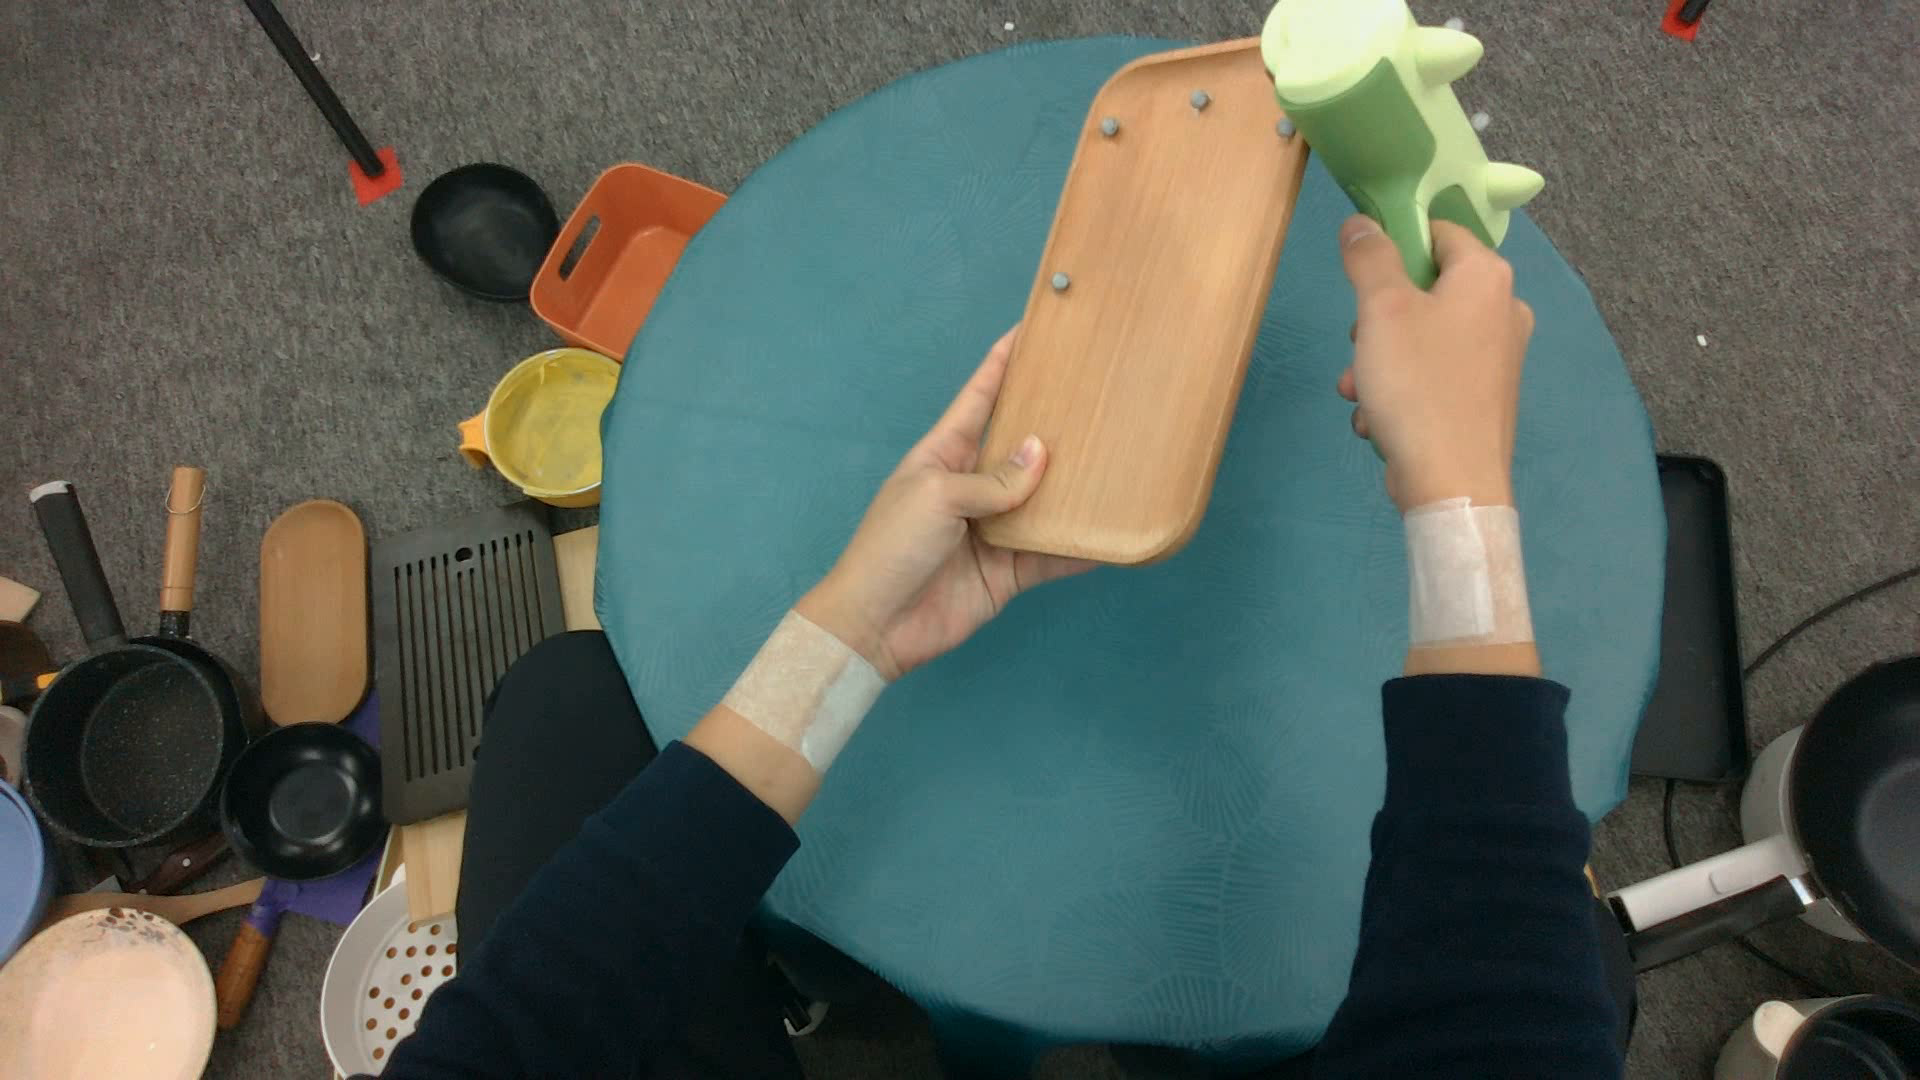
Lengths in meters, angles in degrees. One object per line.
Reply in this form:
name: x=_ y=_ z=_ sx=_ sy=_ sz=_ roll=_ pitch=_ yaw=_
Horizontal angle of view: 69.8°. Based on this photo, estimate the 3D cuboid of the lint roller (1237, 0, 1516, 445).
lint roller: x=0.197 y=-0.134 z=0.580 sx=0.082 sy=0.199 sz=0.184 roll=-24 pitch=66 yaw=27

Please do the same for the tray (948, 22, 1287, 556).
tray: x=0.072 y=-0.114 z=0.619 sx=0.130 sy=0.023 sz=0.251 roll=6 pitch=76 yaw=44
